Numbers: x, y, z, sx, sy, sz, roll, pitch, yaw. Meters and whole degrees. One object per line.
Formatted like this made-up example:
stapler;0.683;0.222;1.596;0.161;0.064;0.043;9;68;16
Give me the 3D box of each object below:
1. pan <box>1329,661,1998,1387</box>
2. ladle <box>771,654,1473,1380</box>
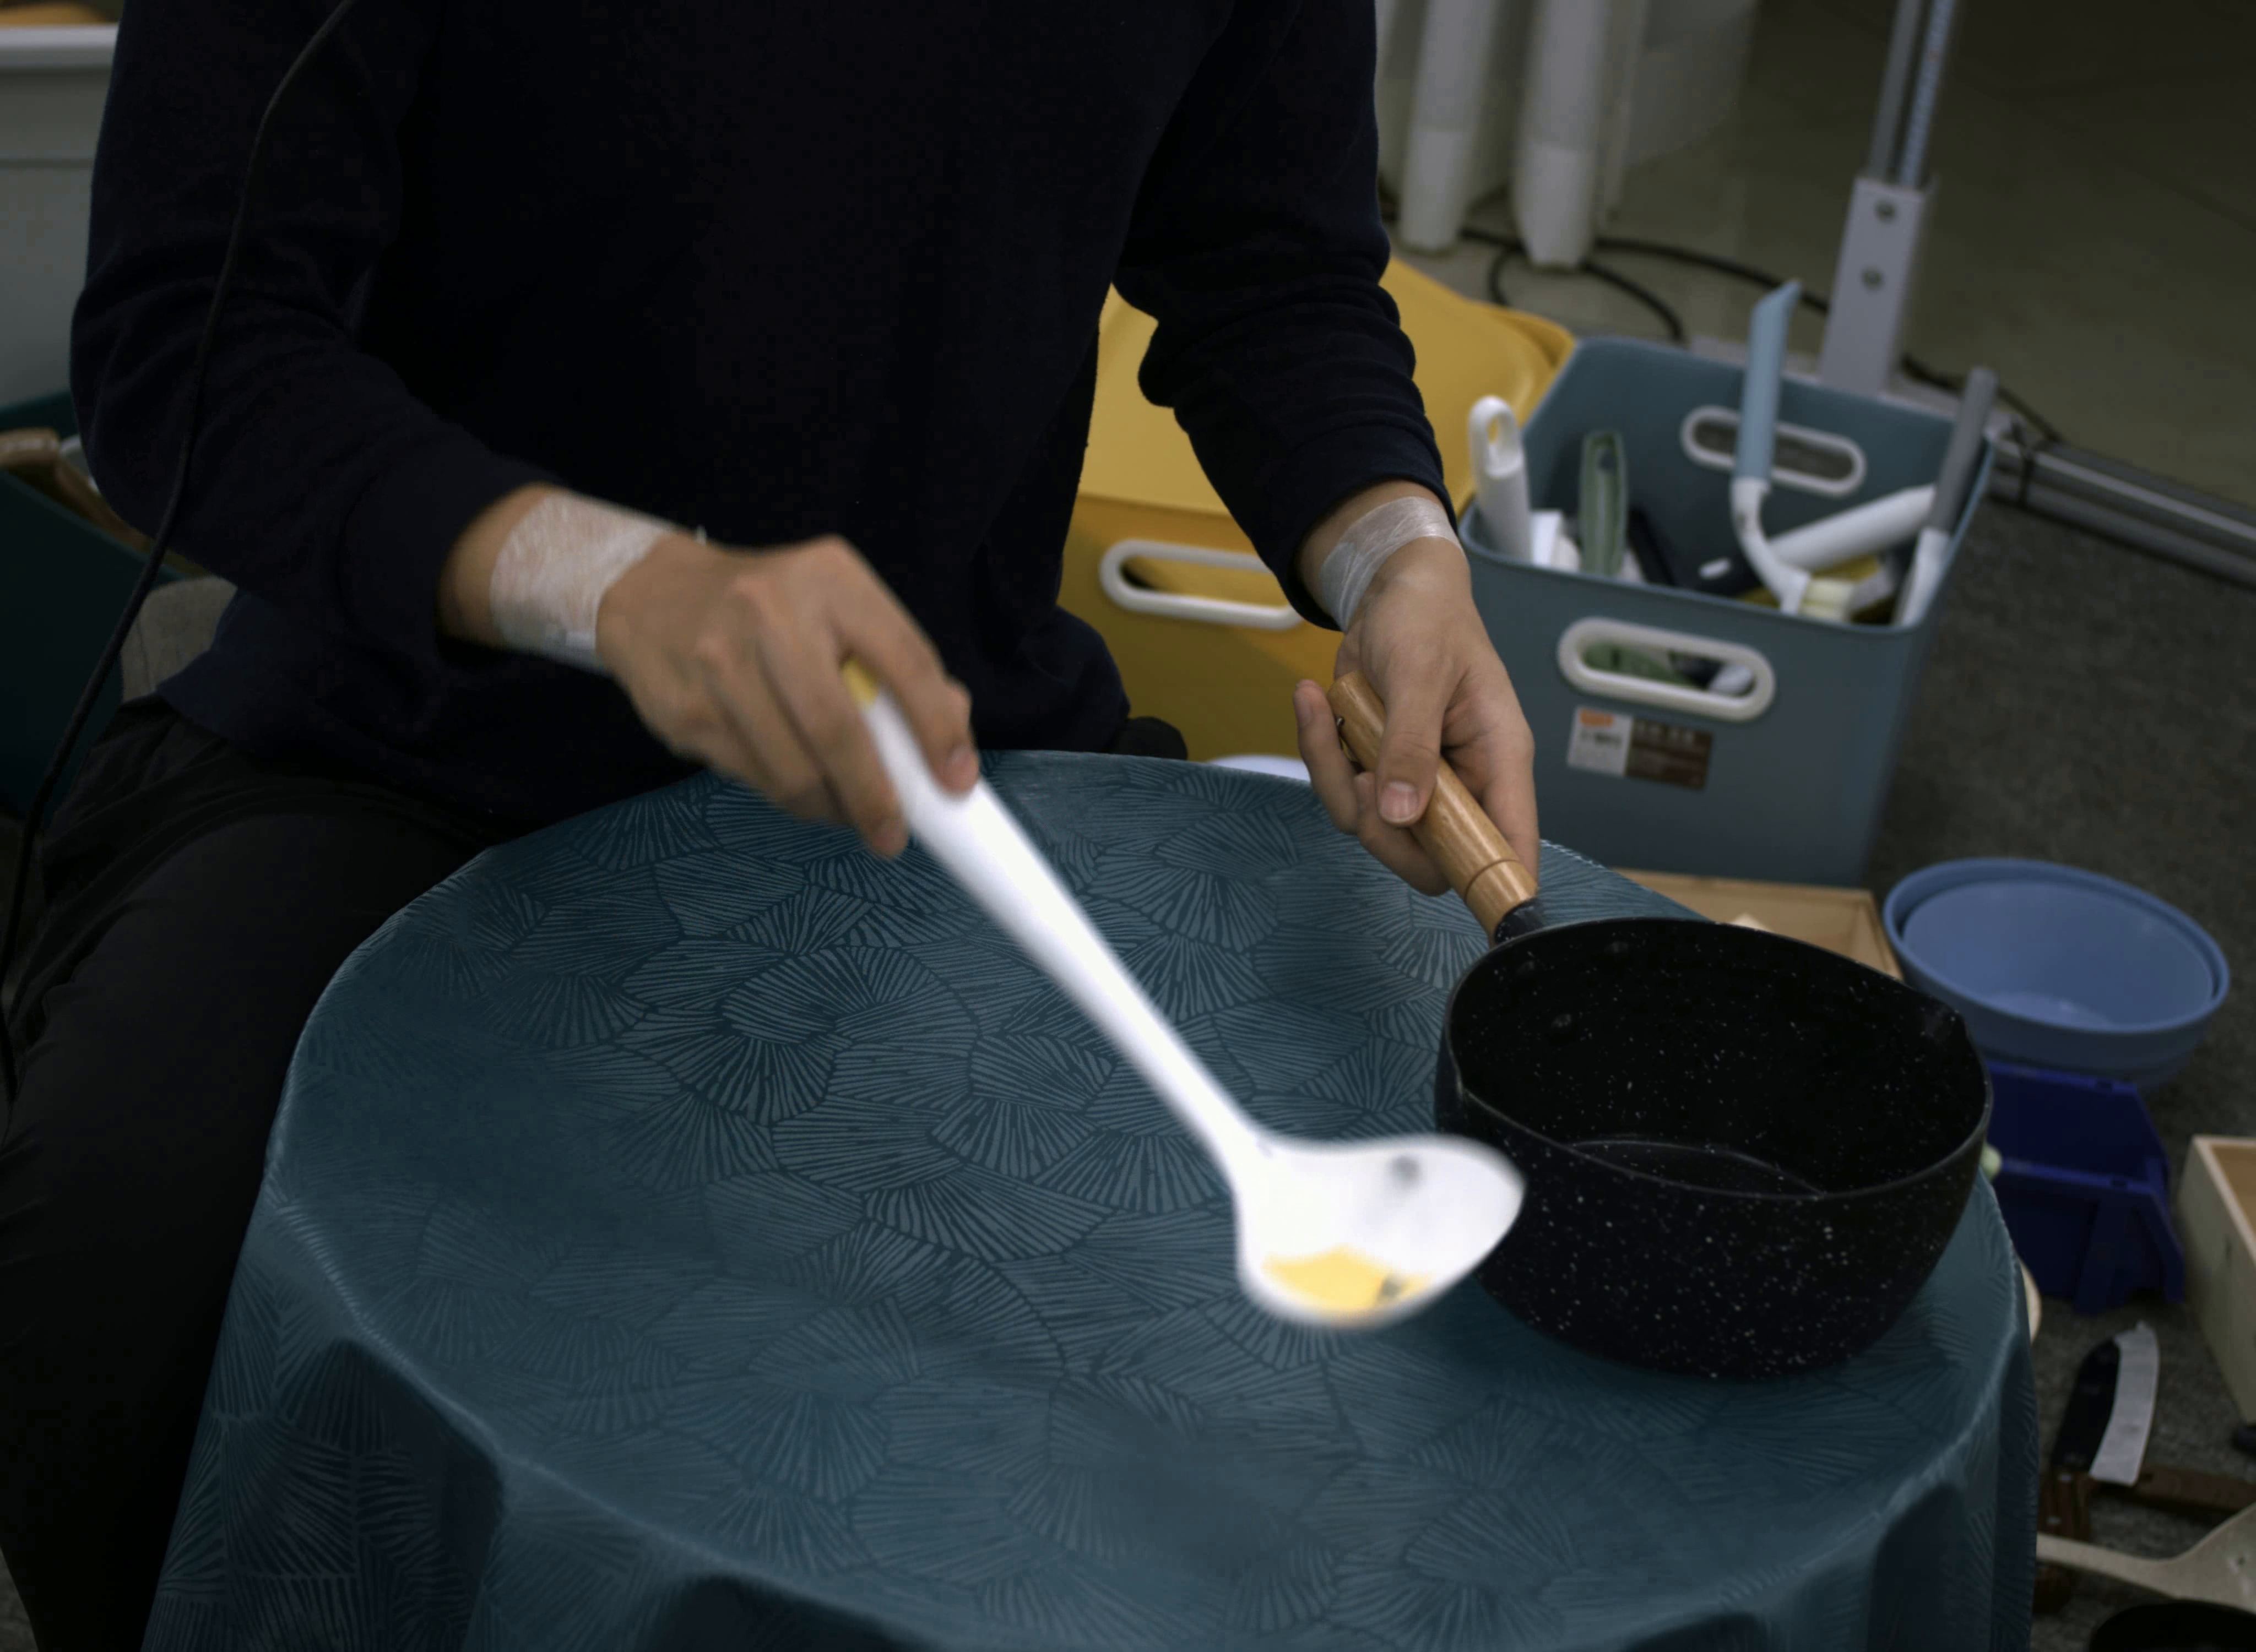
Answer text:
pan;0.154;0.065;1.833;0.206;0.108;0.346;-10;33;-27
ladle;-0.010;0.054;1.644;0.090;0.069;0.294;-35;72;-18
